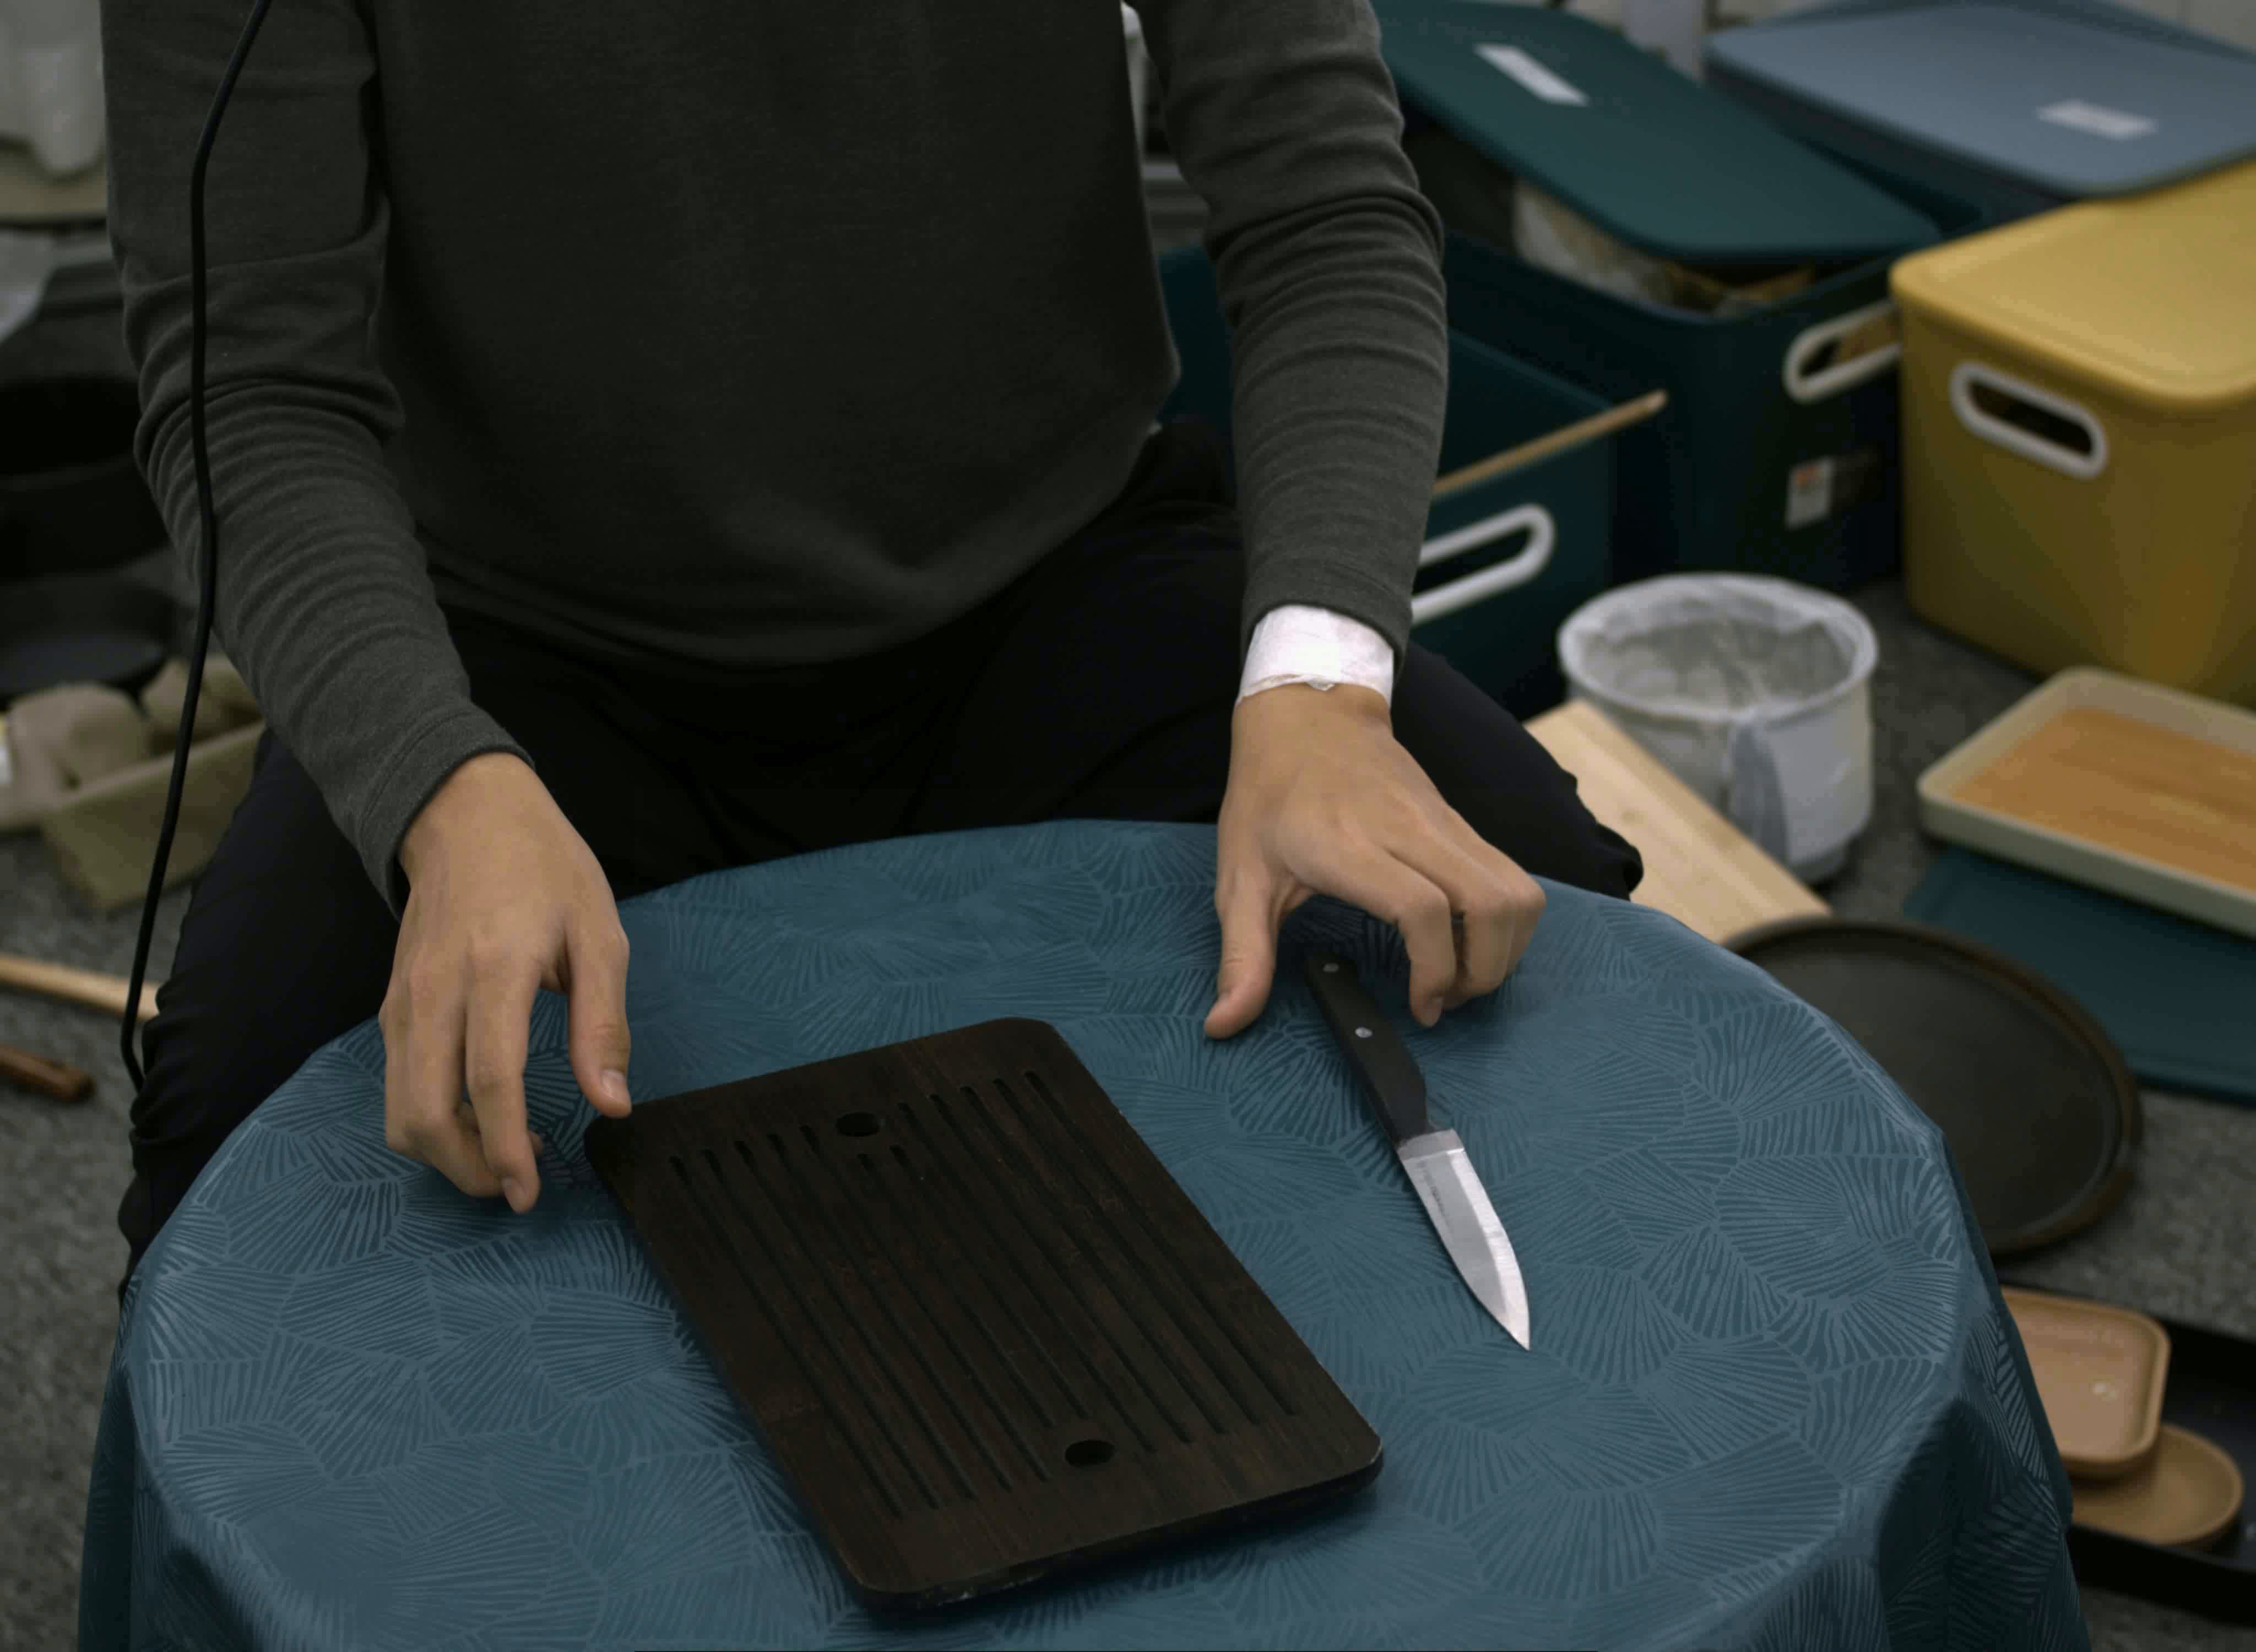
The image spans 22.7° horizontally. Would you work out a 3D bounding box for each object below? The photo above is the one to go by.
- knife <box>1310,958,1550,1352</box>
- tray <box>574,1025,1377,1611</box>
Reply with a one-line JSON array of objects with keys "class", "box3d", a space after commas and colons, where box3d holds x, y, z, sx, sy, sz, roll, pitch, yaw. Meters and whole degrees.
[{"class": "knife", "box3d": [0.099, 0.109, 1.866, 0.024, 0.016, 0.241, -8, 30, -12]}, {"class": "tray", "box3d": [-0.055, 0.153, 1.788, 0.170, 0.018, 0.308, -12, 29, -18]}]
